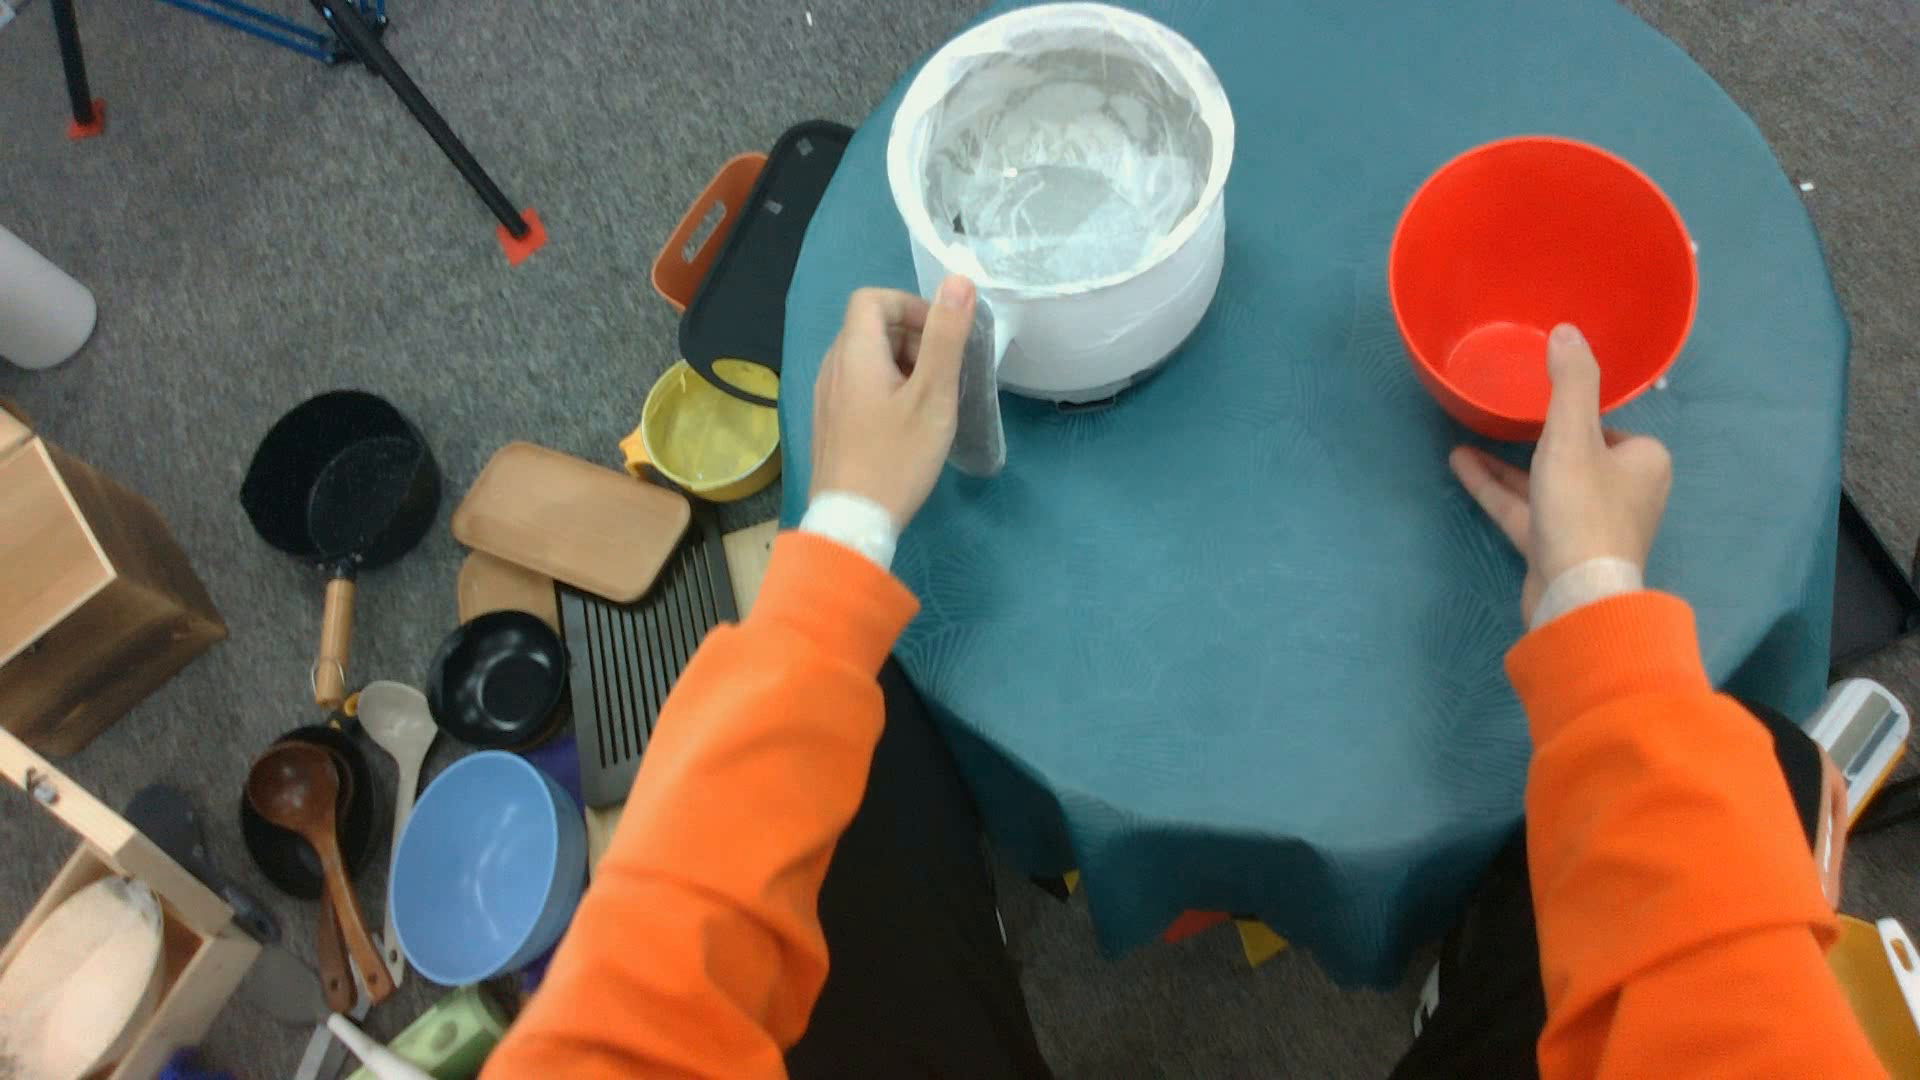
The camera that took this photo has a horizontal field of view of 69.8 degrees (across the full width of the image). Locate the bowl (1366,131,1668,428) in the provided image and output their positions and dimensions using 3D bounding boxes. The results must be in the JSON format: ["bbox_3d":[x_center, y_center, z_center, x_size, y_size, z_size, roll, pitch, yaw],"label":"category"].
[{"bbox_3d":[0.286,-0.124,0.733,0.148,0.104,0.148,-2,70,7],"label":"bowl"}]

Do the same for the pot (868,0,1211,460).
[{"bbox_3d":[0.037,-0.162,0.756,0.178,0.136,0.234,19,72,15],"label":"pot"}]
